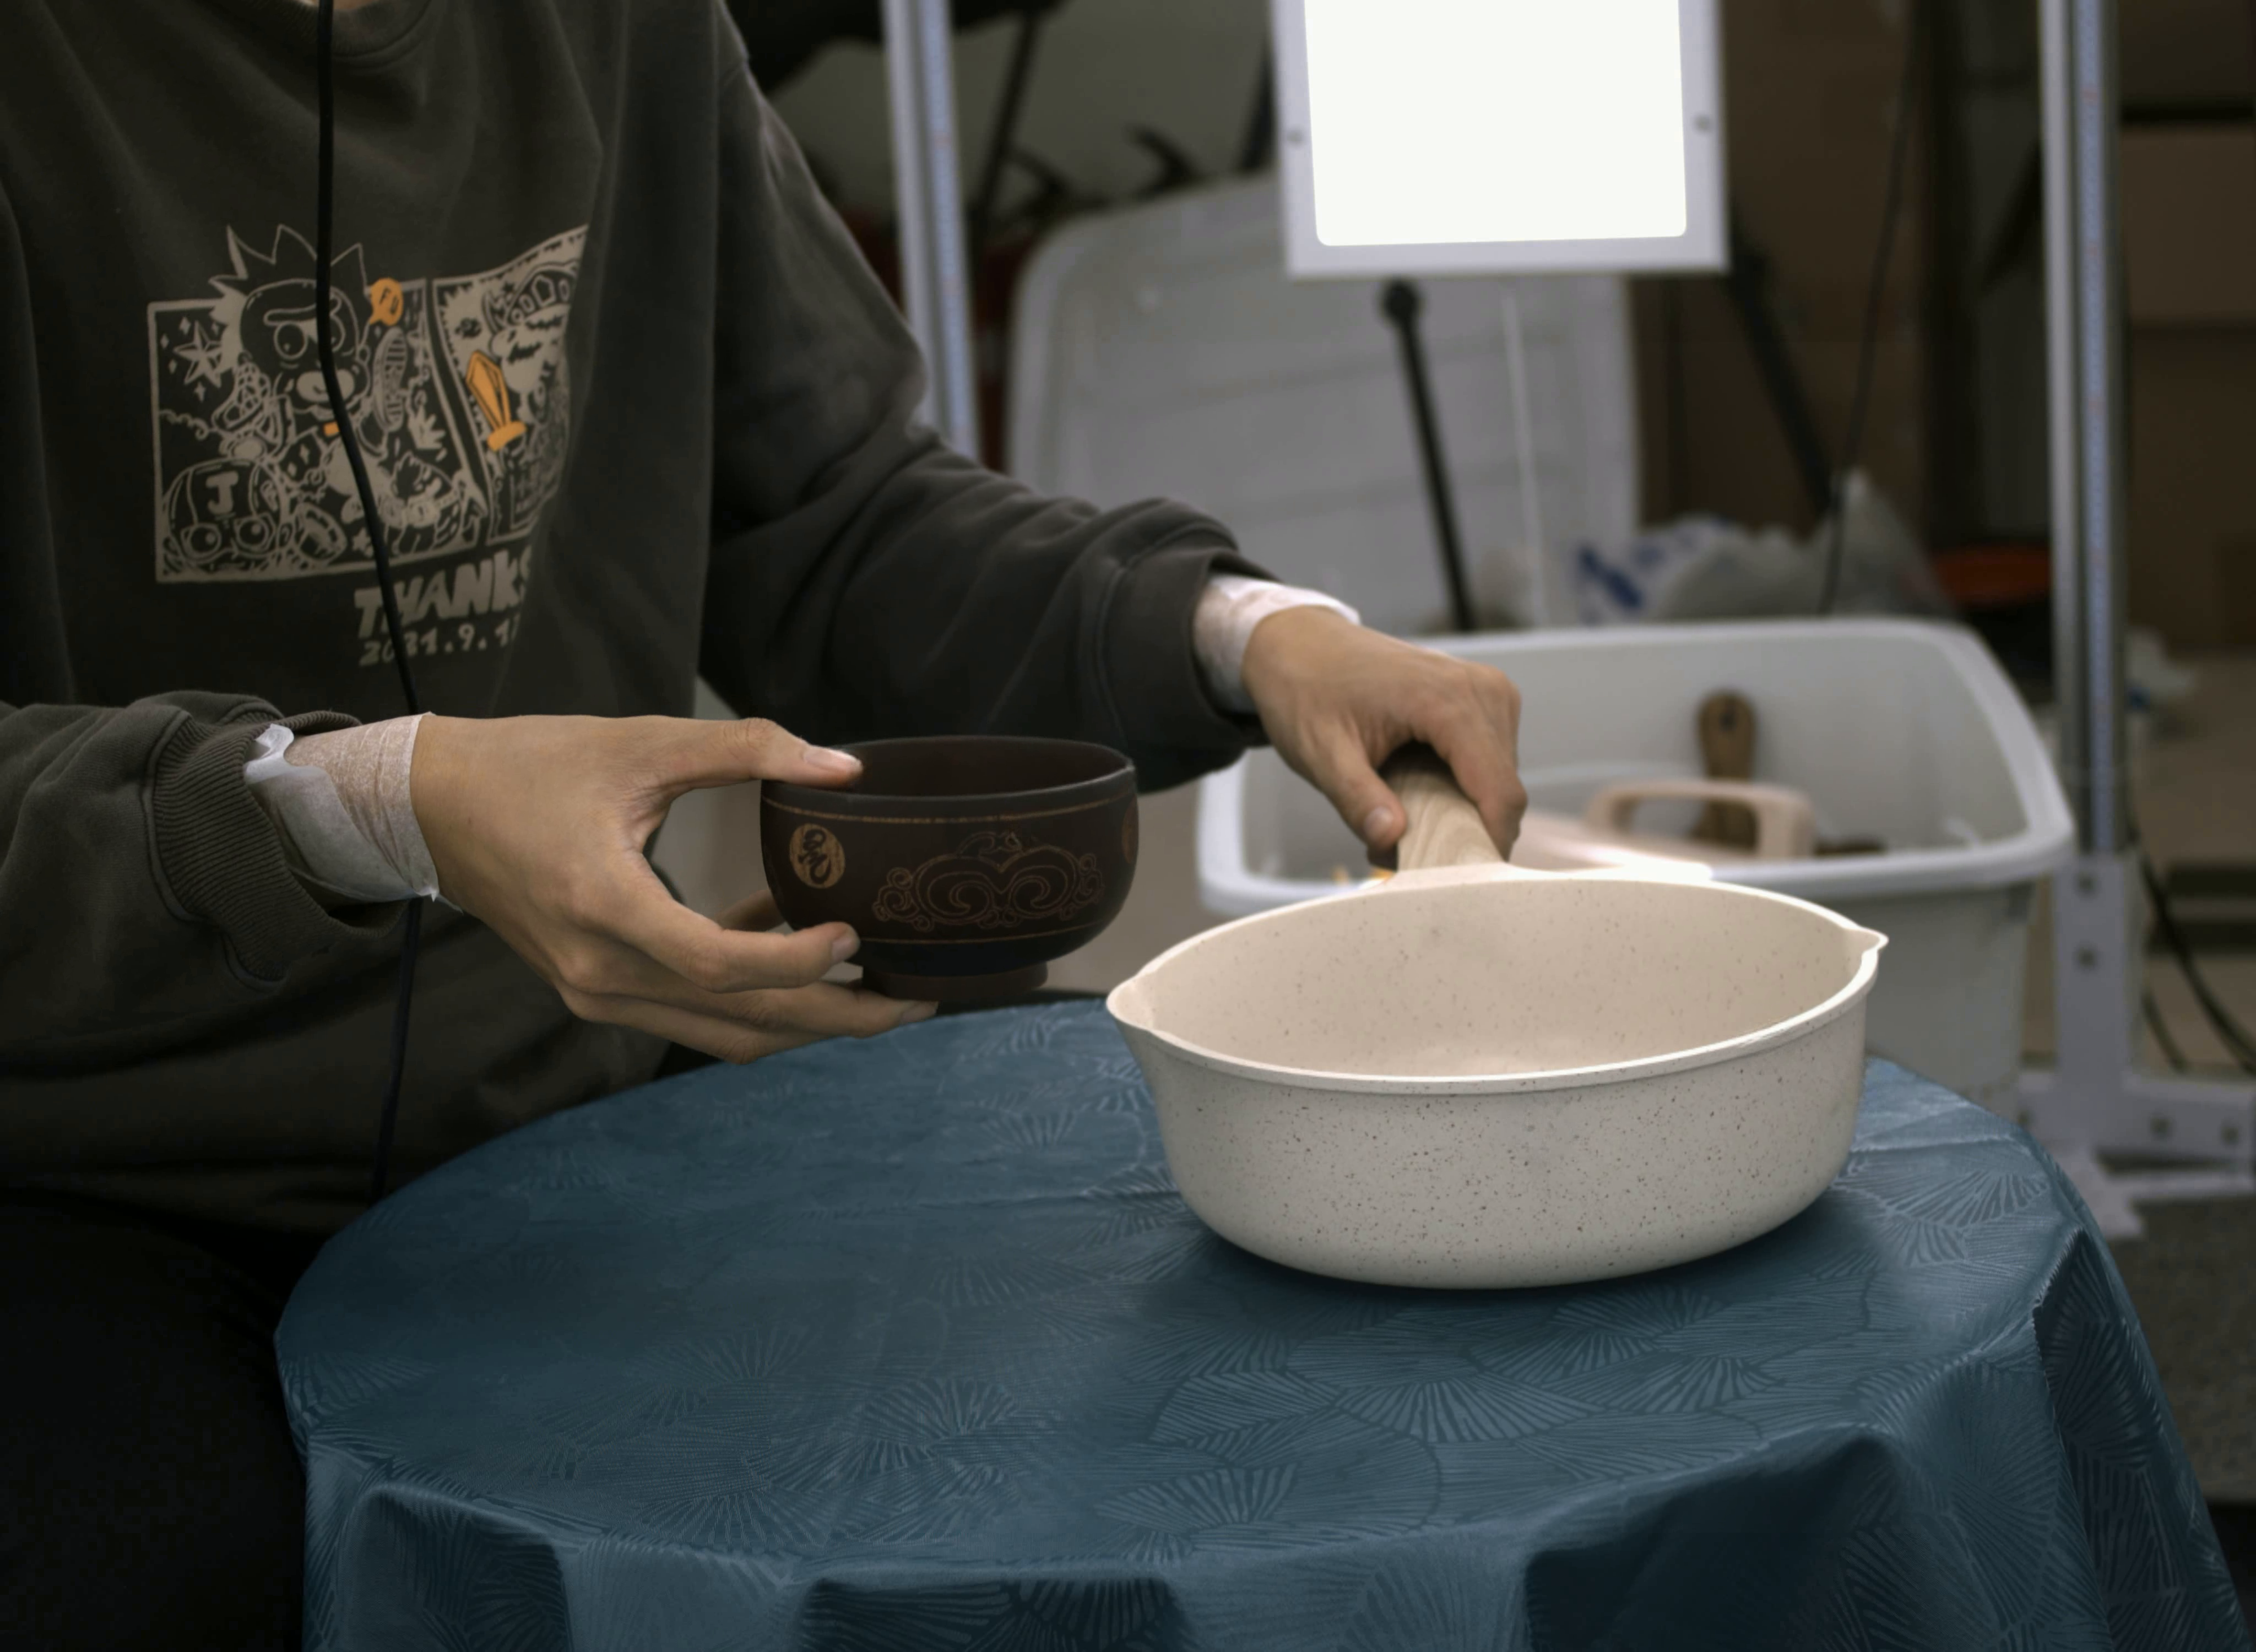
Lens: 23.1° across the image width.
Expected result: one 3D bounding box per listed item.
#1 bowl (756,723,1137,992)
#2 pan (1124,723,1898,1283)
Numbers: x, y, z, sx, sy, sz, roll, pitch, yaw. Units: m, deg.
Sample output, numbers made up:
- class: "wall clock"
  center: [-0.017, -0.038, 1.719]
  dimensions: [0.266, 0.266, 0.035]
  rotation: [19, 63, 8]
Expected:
- class: "bowl"
  center: [-0.055, 0.012, 1.696]
  dimensions: [0.117, 0.070, 0.118]
  rotation: [-4, 11, -1]
- class: "pan"
  center: [0.126, 0.057, 1.927]
  dimensions: [0.262, 0.102, 0.435]
  rotation: [-7, 13, -1]
